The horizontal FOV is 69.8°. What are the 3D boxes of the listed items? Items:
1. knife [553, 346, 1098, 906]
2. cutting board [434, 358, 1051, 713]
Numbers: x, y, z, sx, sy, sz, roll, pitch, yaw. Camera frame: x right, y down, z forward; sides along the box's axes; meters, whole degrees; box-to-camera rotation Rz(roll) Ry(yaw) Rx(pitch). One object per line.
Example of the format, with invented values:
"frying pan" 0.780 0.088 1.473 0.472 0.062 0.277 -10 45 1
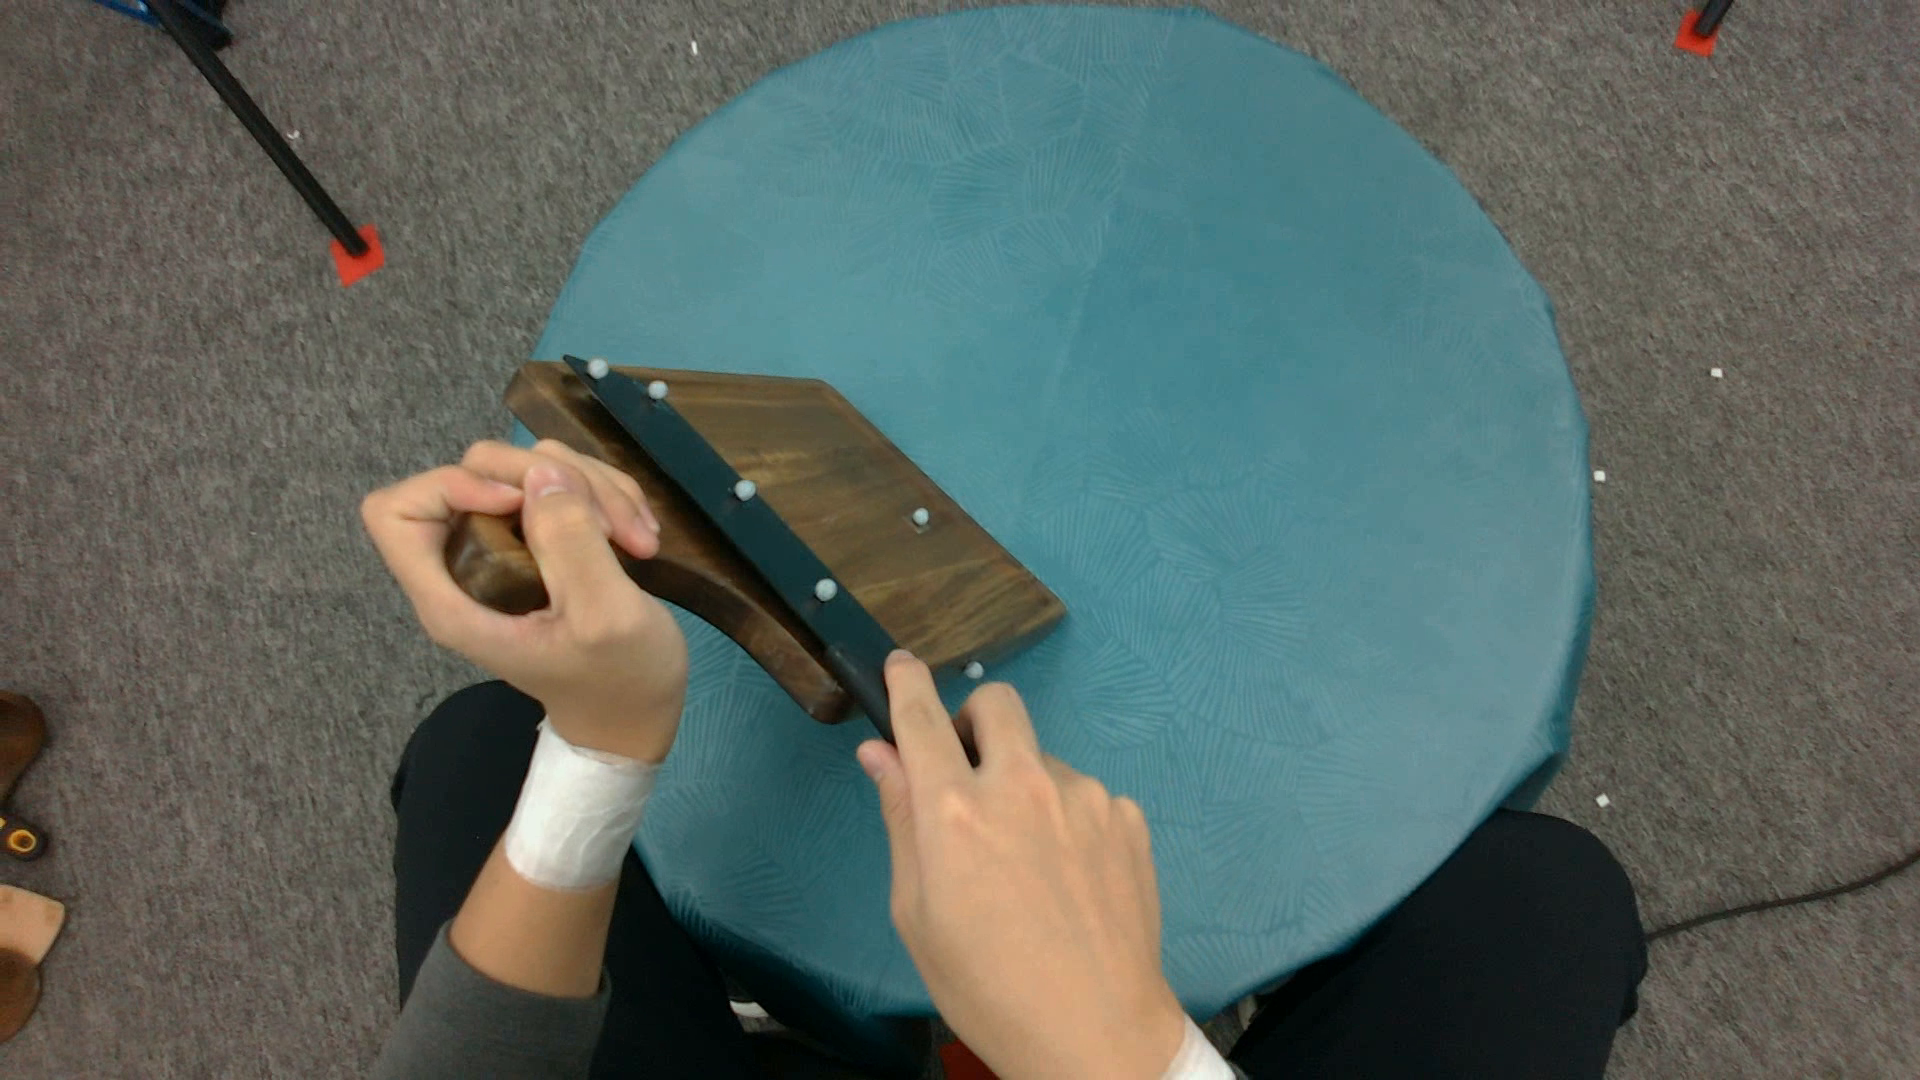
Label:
"knife" -0.056 0.022 0.533 0.302 0.081 0.021 46 103 23
"cutting board" -0.091 -0.012 0.596 0.201 0.353 0.023 41 109 14
